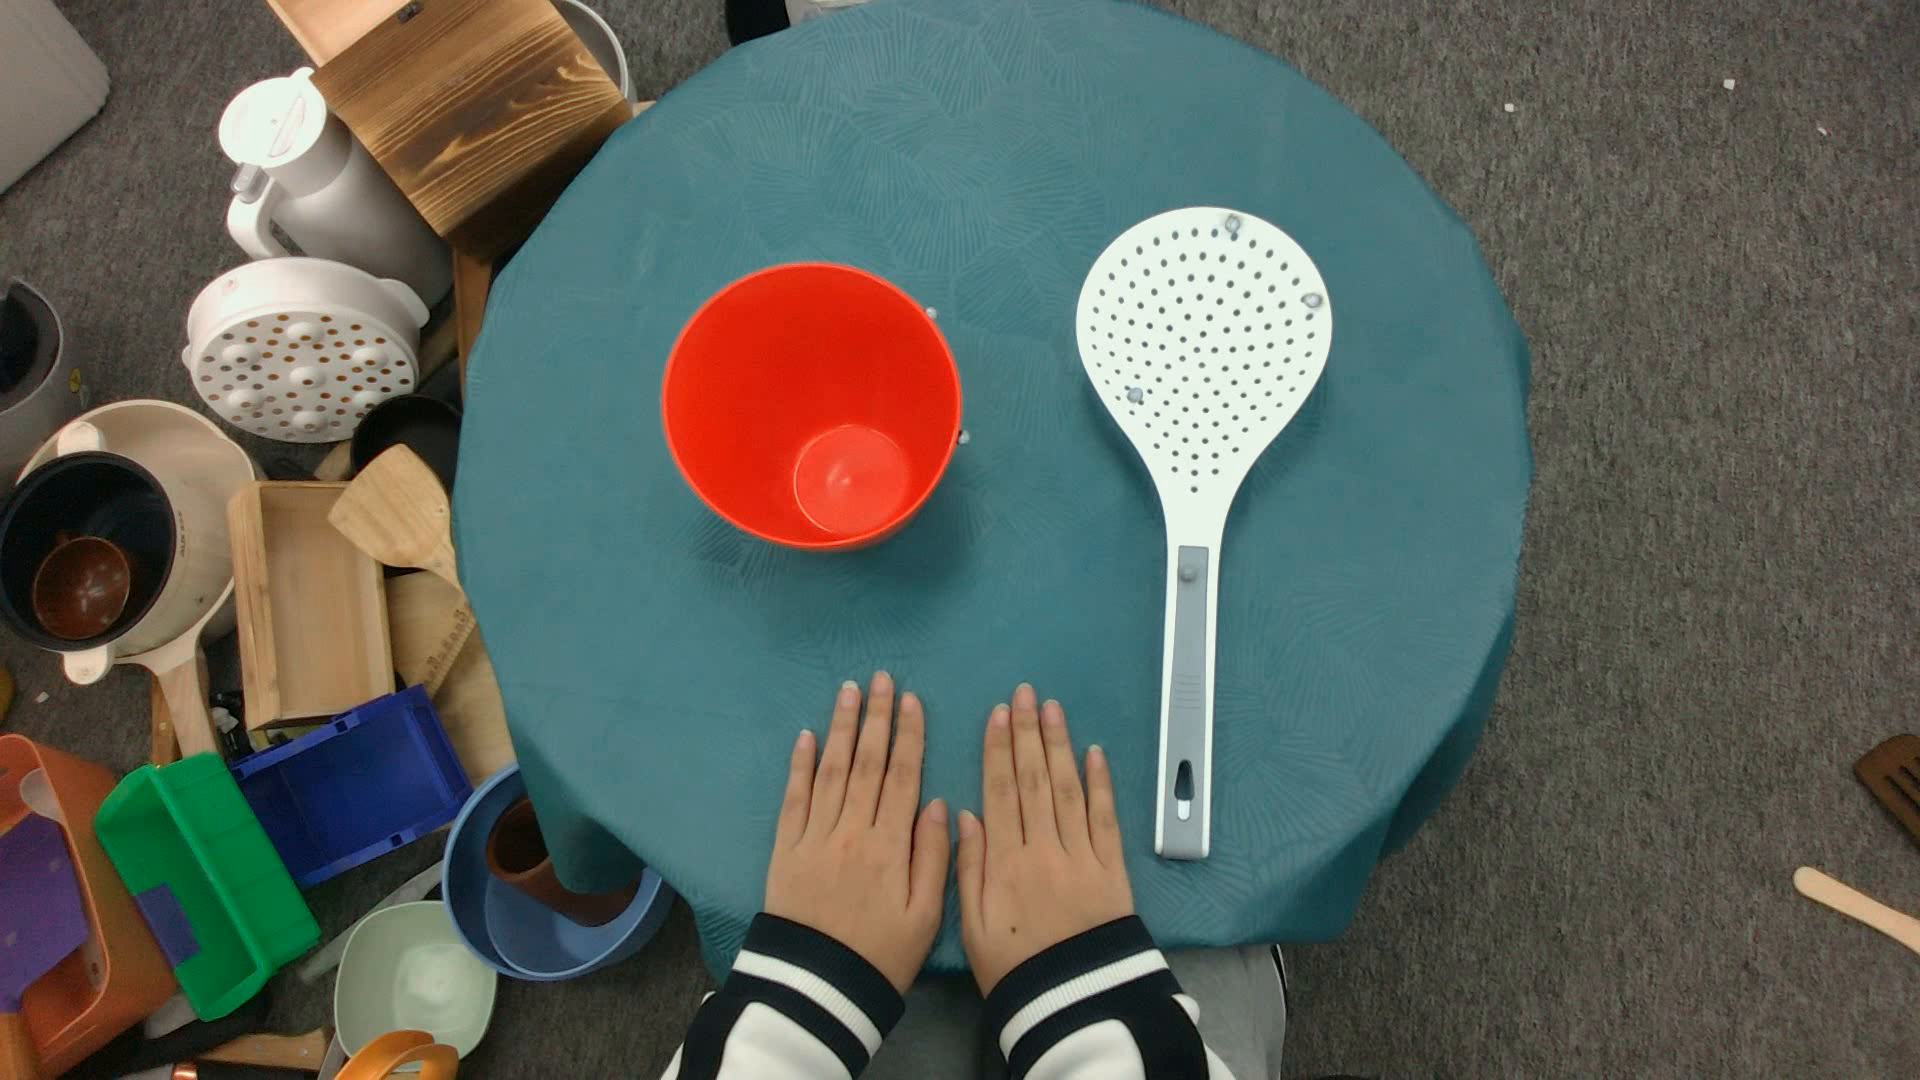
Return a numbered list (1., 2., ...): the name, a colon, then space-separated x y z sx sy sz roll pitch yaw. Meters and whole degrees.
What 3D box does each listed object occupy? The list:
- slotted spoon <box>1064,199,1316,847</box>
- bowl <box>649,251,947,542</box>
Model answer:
1. slotted spoon: 0.116 -0.017 0.727 0.136 0.045 0.351 4 71 5
2. bowl: -0.079 -0.062 0.722 0.148 0.104 0.148 0 70 0
